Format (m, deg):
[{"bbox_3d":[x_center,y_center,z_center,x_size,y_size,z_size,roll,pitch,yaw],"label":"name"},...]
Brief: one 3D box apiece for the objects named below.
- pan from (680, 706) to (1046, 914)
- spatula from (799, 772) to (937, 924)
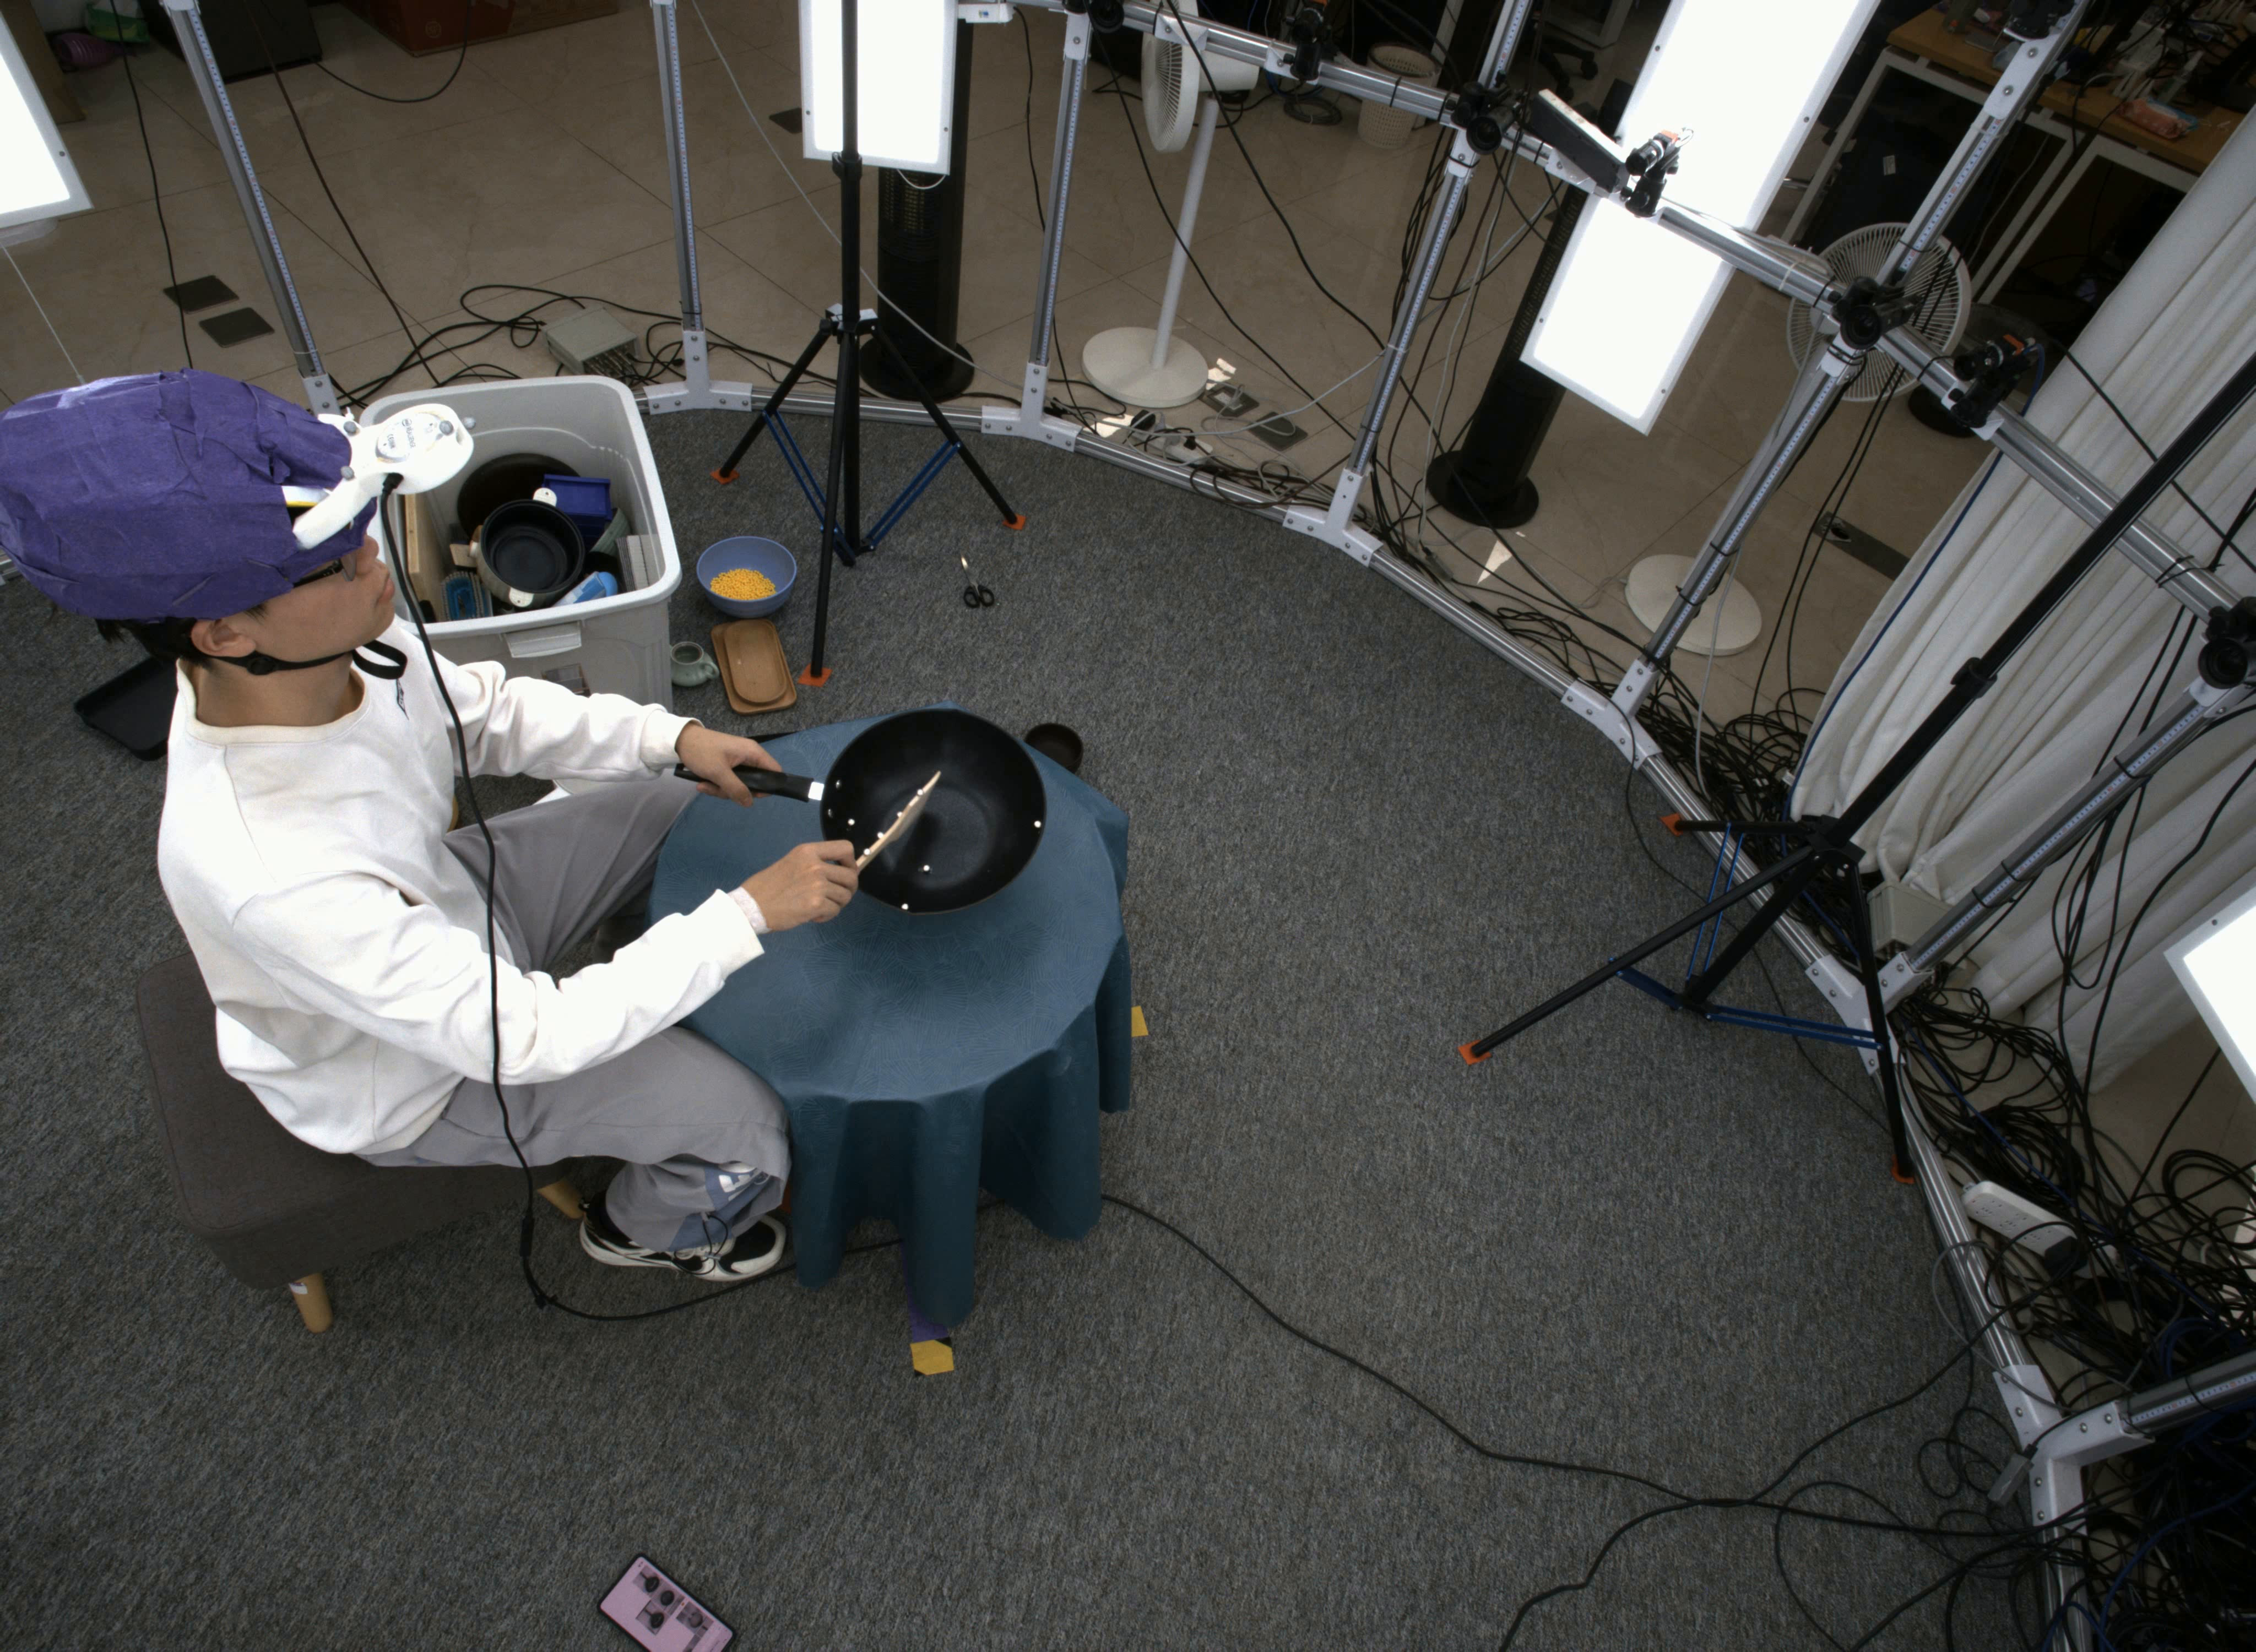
[{"bbox_3d":[-0.332,-0.024,1.638,0.459,0.088,0.286,9,65,-3],"label":"pan"},{"bbox_3d":[-0.306,0.027,1.549,0.010,0.073,0.291,34,39,2],"label":"spatula"}]
